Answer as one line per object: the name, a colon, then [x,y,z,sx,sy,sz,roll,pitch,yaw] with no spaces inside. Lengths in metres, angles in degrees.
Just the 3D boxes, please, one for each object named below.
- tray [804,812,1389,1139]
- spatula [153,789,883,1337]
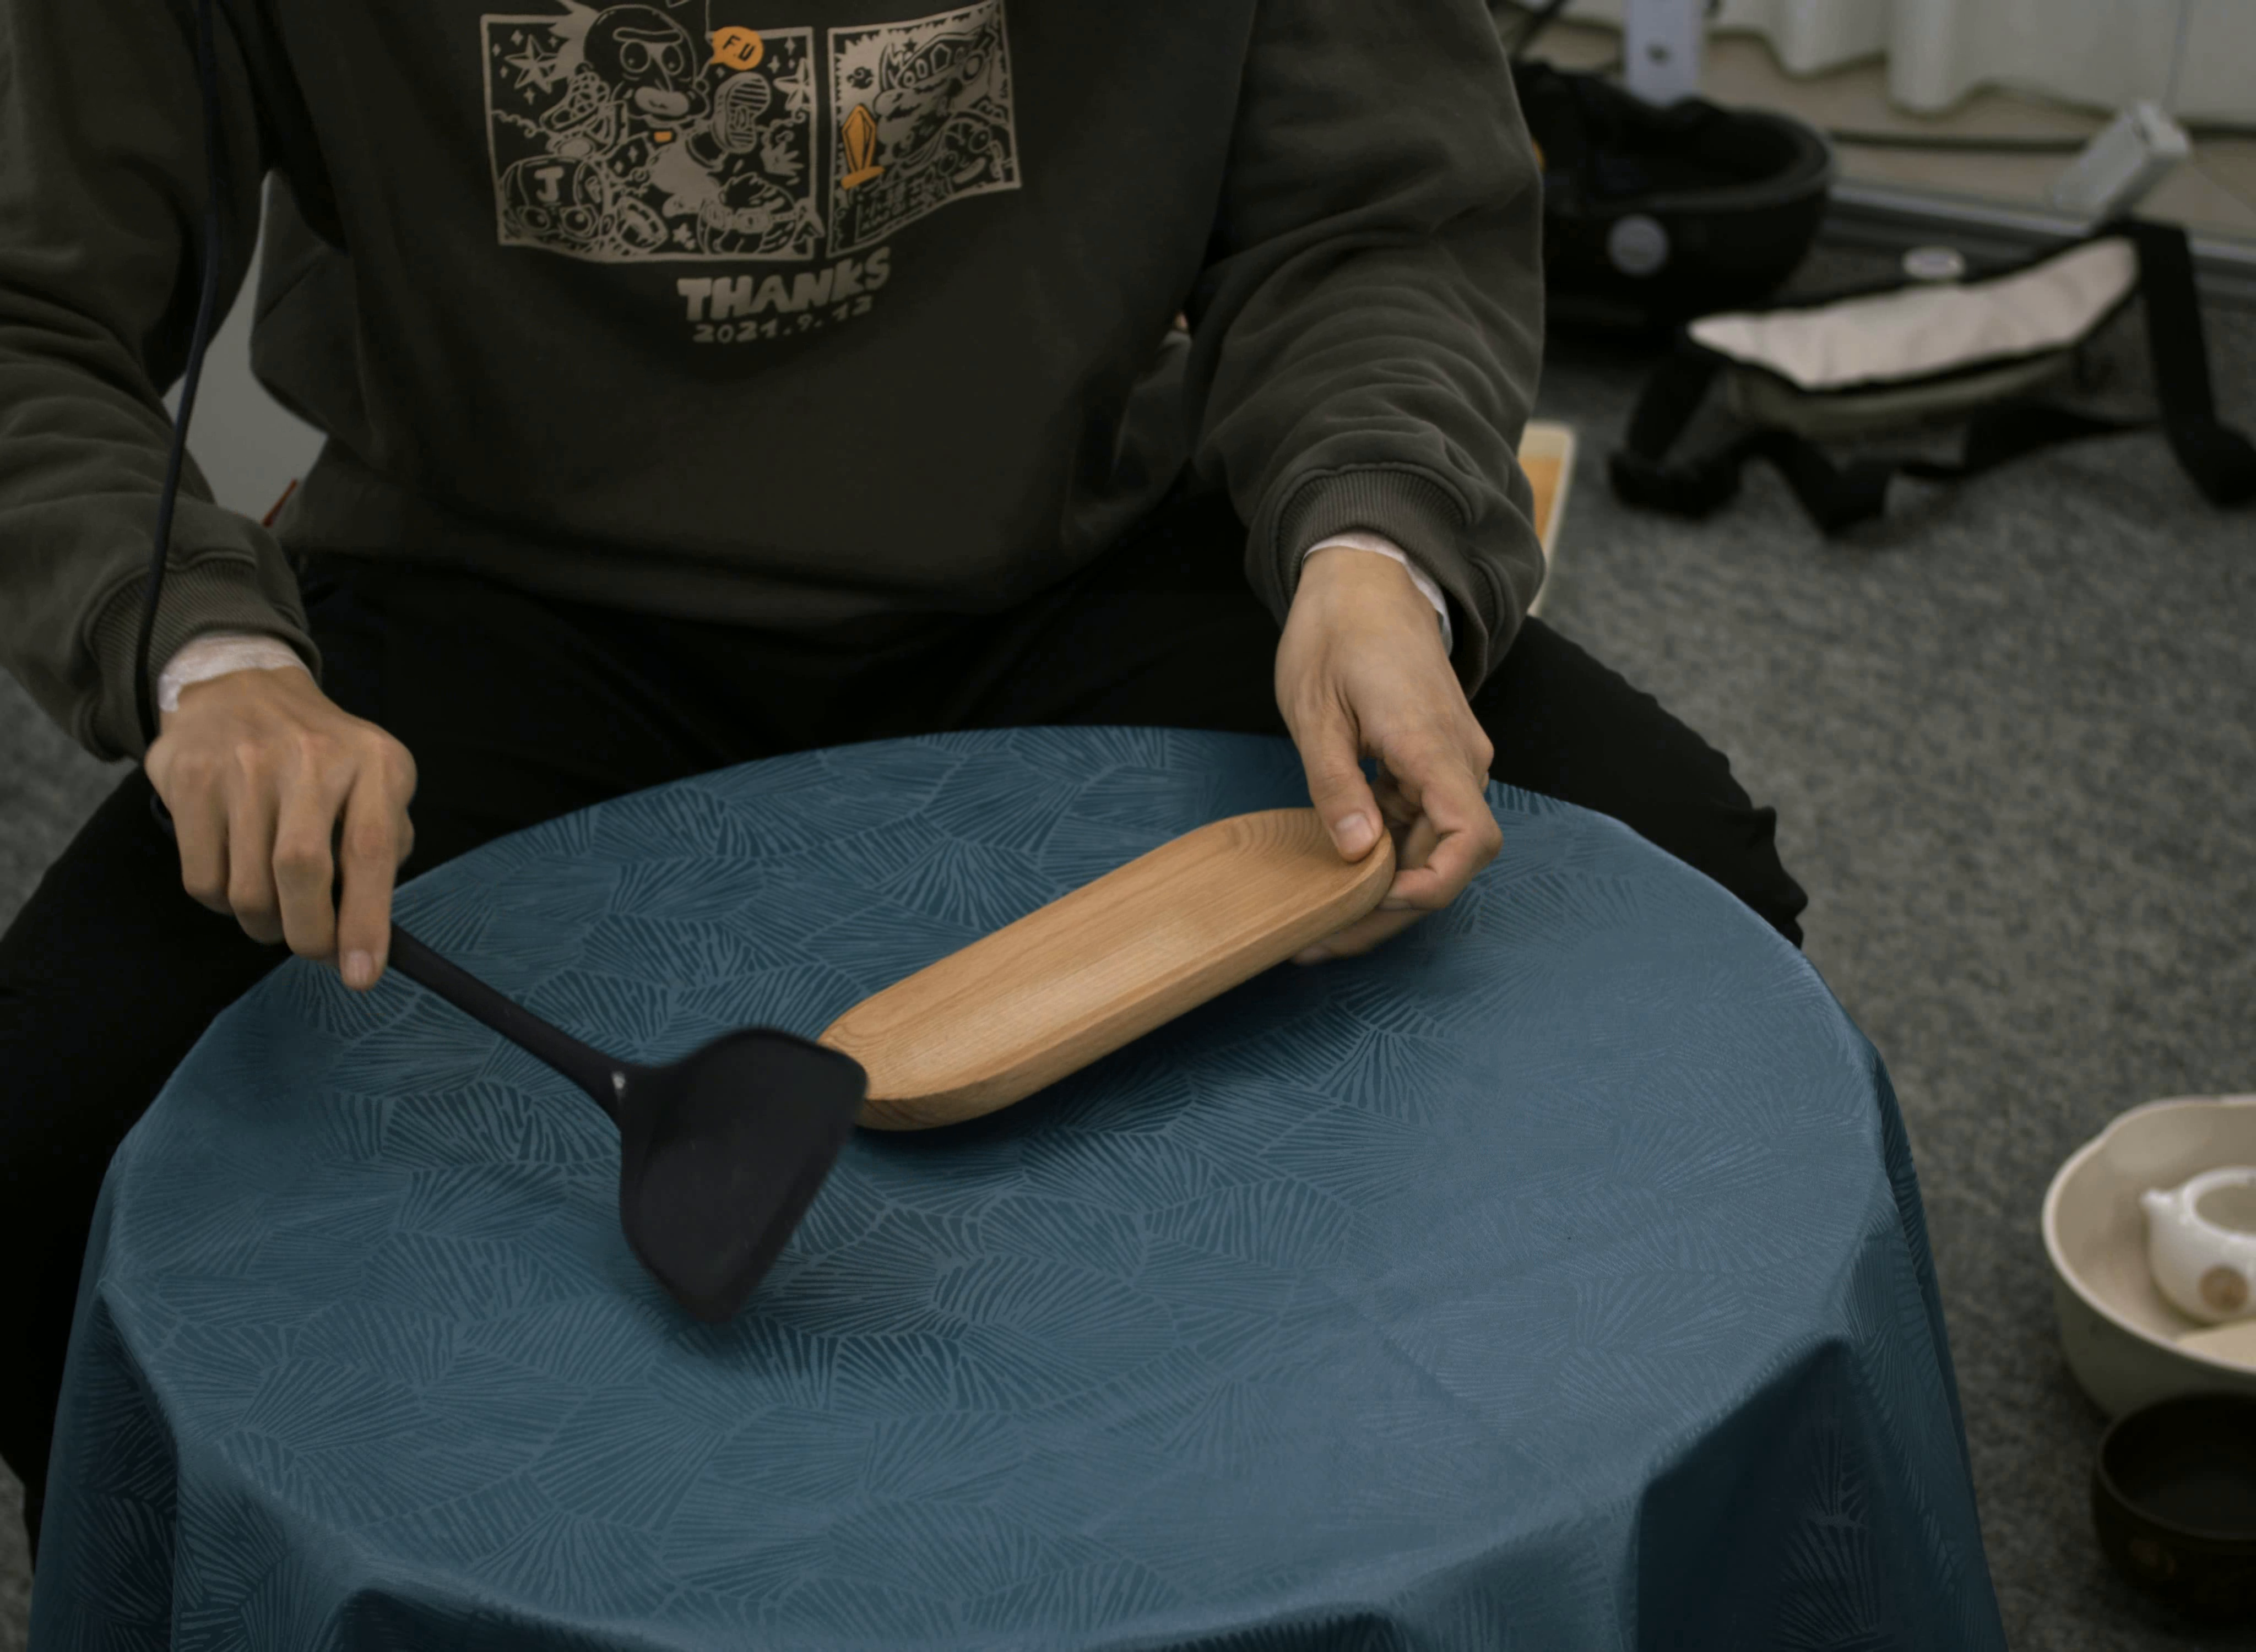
tray: [-0.009,0.051,1.948,0.233,0.020,0.101,-28,26,-27]
spatula: [-0.217,0.060,1.867,0.326,0.040,0.100,30,80,27]
